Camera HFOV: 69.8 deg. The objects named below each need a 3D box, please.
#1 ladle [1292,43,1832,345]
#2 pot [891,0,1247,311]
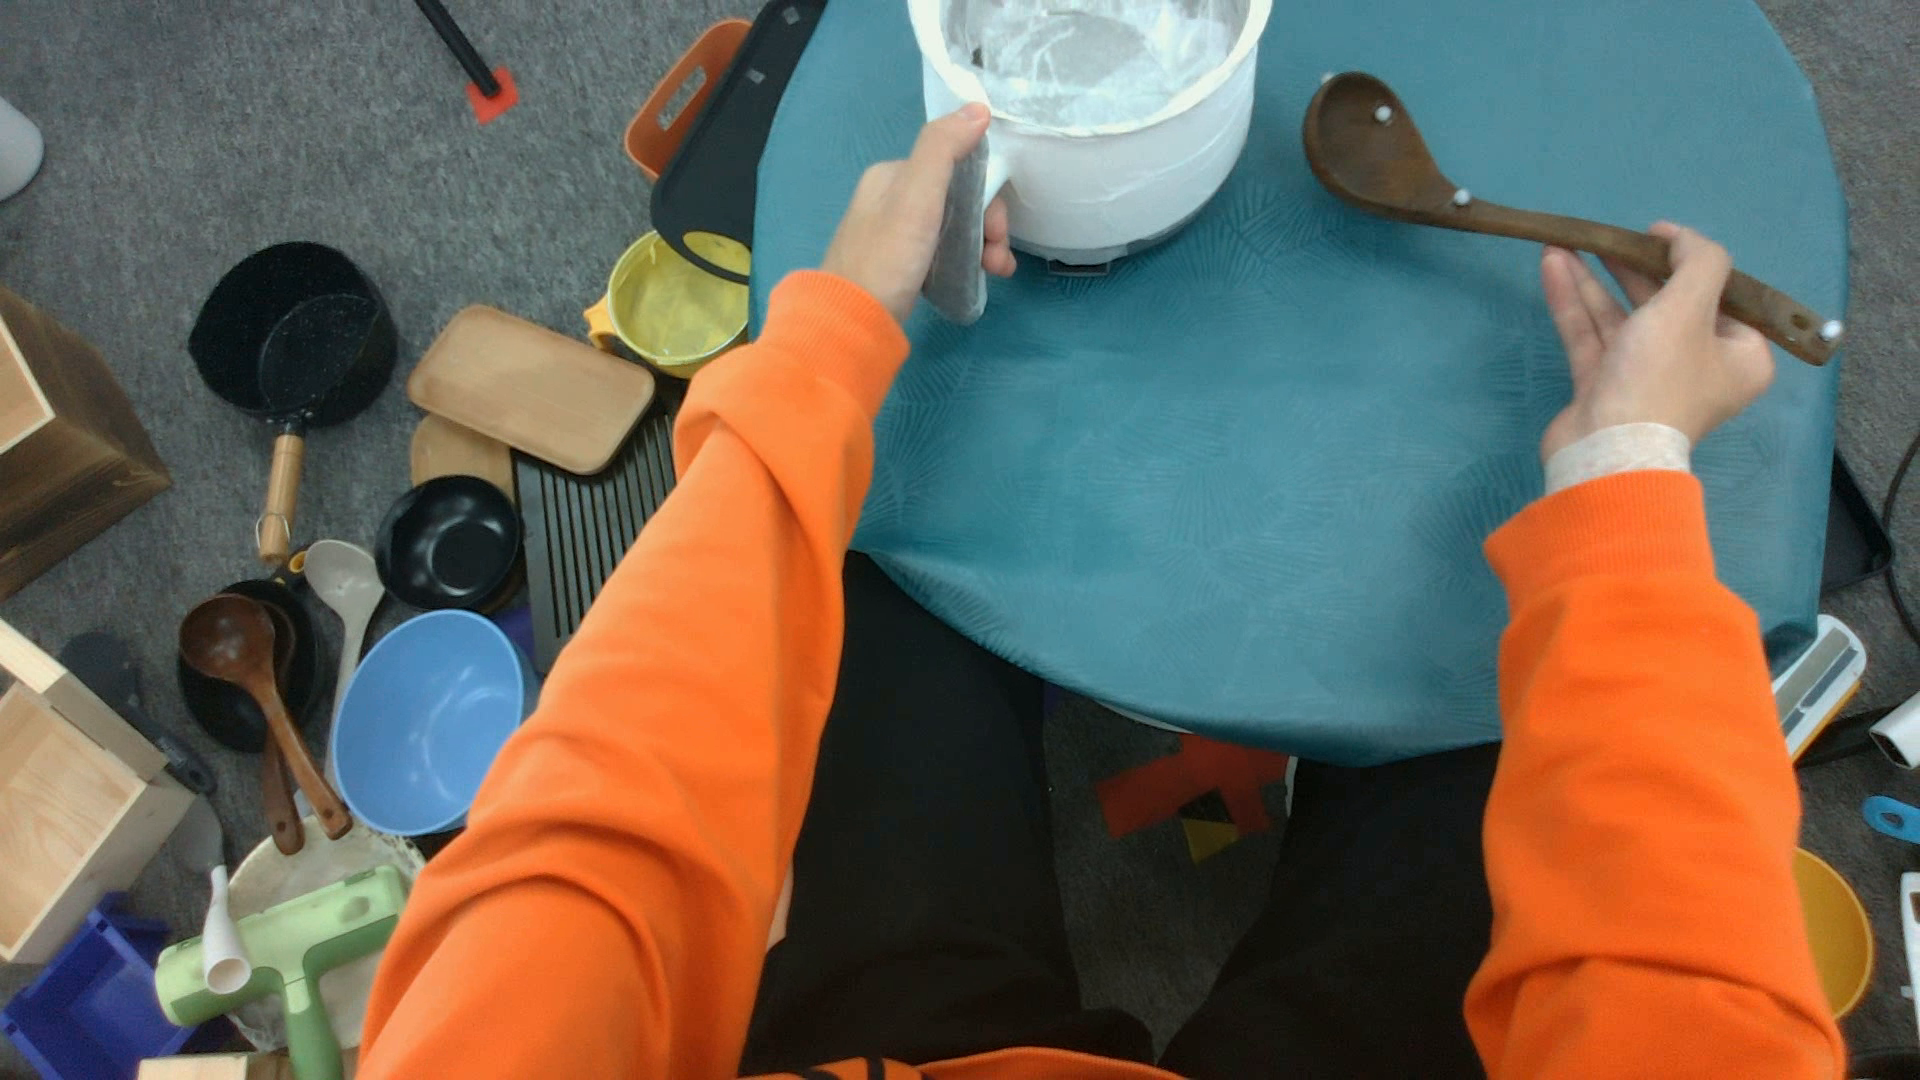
[{"bbox_3d":[0.285,-0.175,0.668,0.274,0.071,0.076,32,63,34],"label":"ladle"},{"bbox_3d":[0.043,-0.233,0.723,0.178,0.136,0.234,29,75,14],"label":"pot"}]
